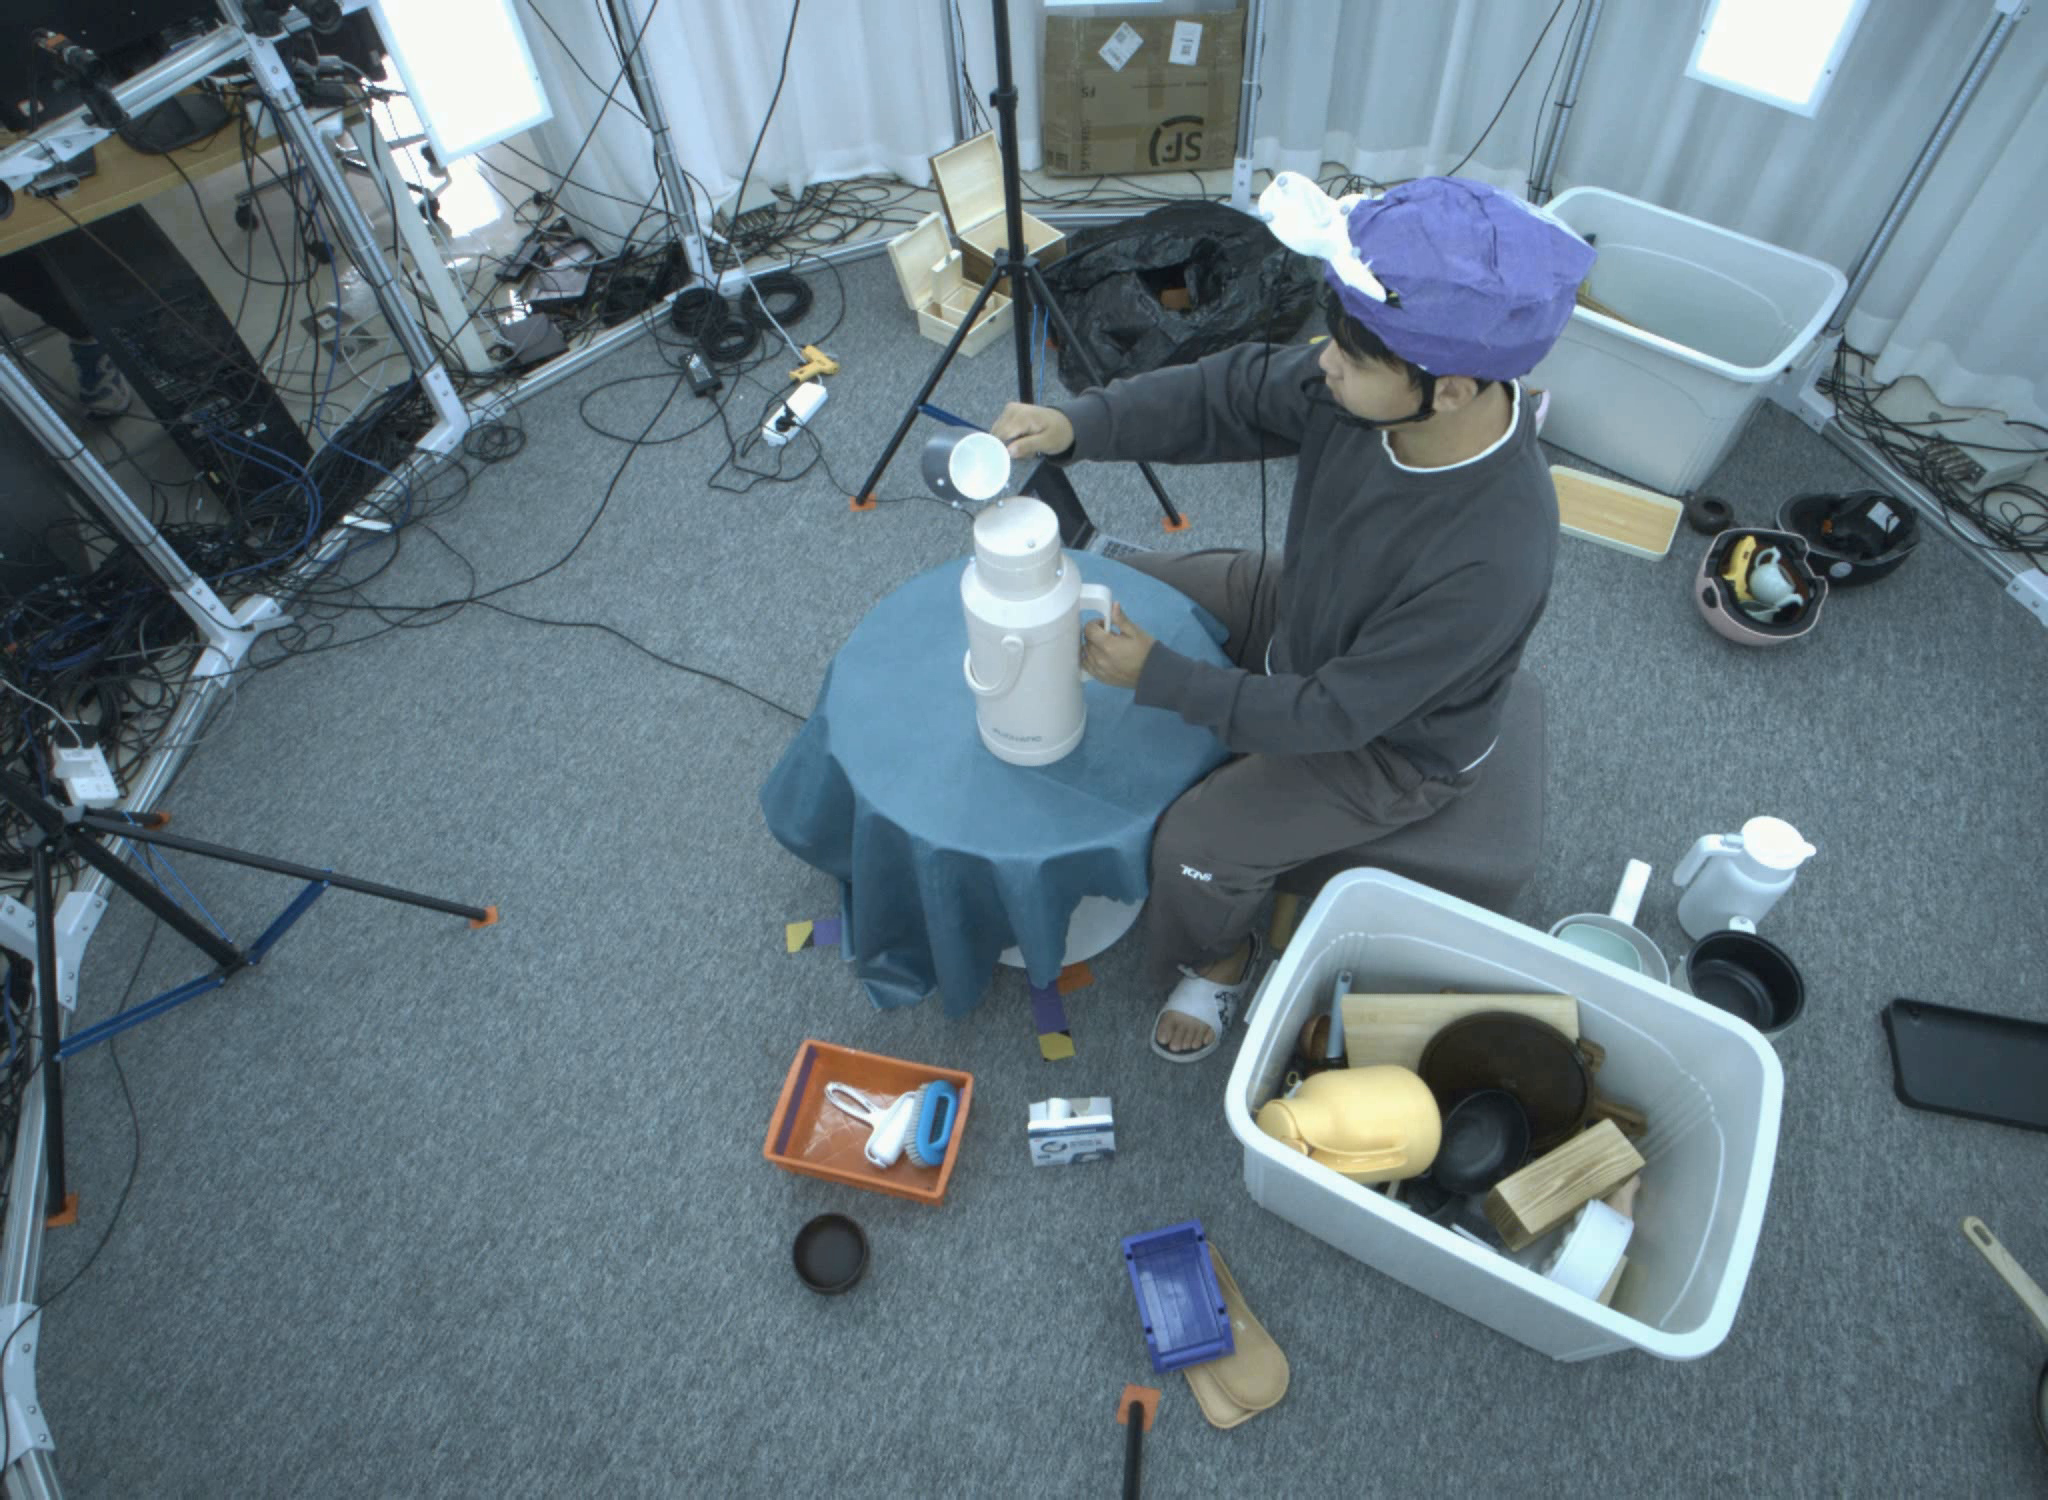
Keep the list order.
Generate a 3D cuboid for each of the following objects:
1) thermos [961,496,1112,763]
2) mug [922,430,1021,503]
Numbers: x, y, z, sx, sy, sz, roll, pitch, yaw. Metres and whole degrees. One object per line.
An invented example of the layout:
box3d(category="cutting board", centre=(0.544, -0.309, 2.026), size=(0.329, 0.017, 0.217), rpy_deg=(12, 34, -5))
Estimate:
box3d(category="thermos", centre=(0.015, -0.156, 1.653), size=(0.206, 0.411, 0.174), rpy_deg=(4, 55, 6))
box3d(category="mug", centre=(-0.061, -0.357, 1.499), size=(0.124, 0.095, 0.088), rpy_deg=(-32, 26, -18))
